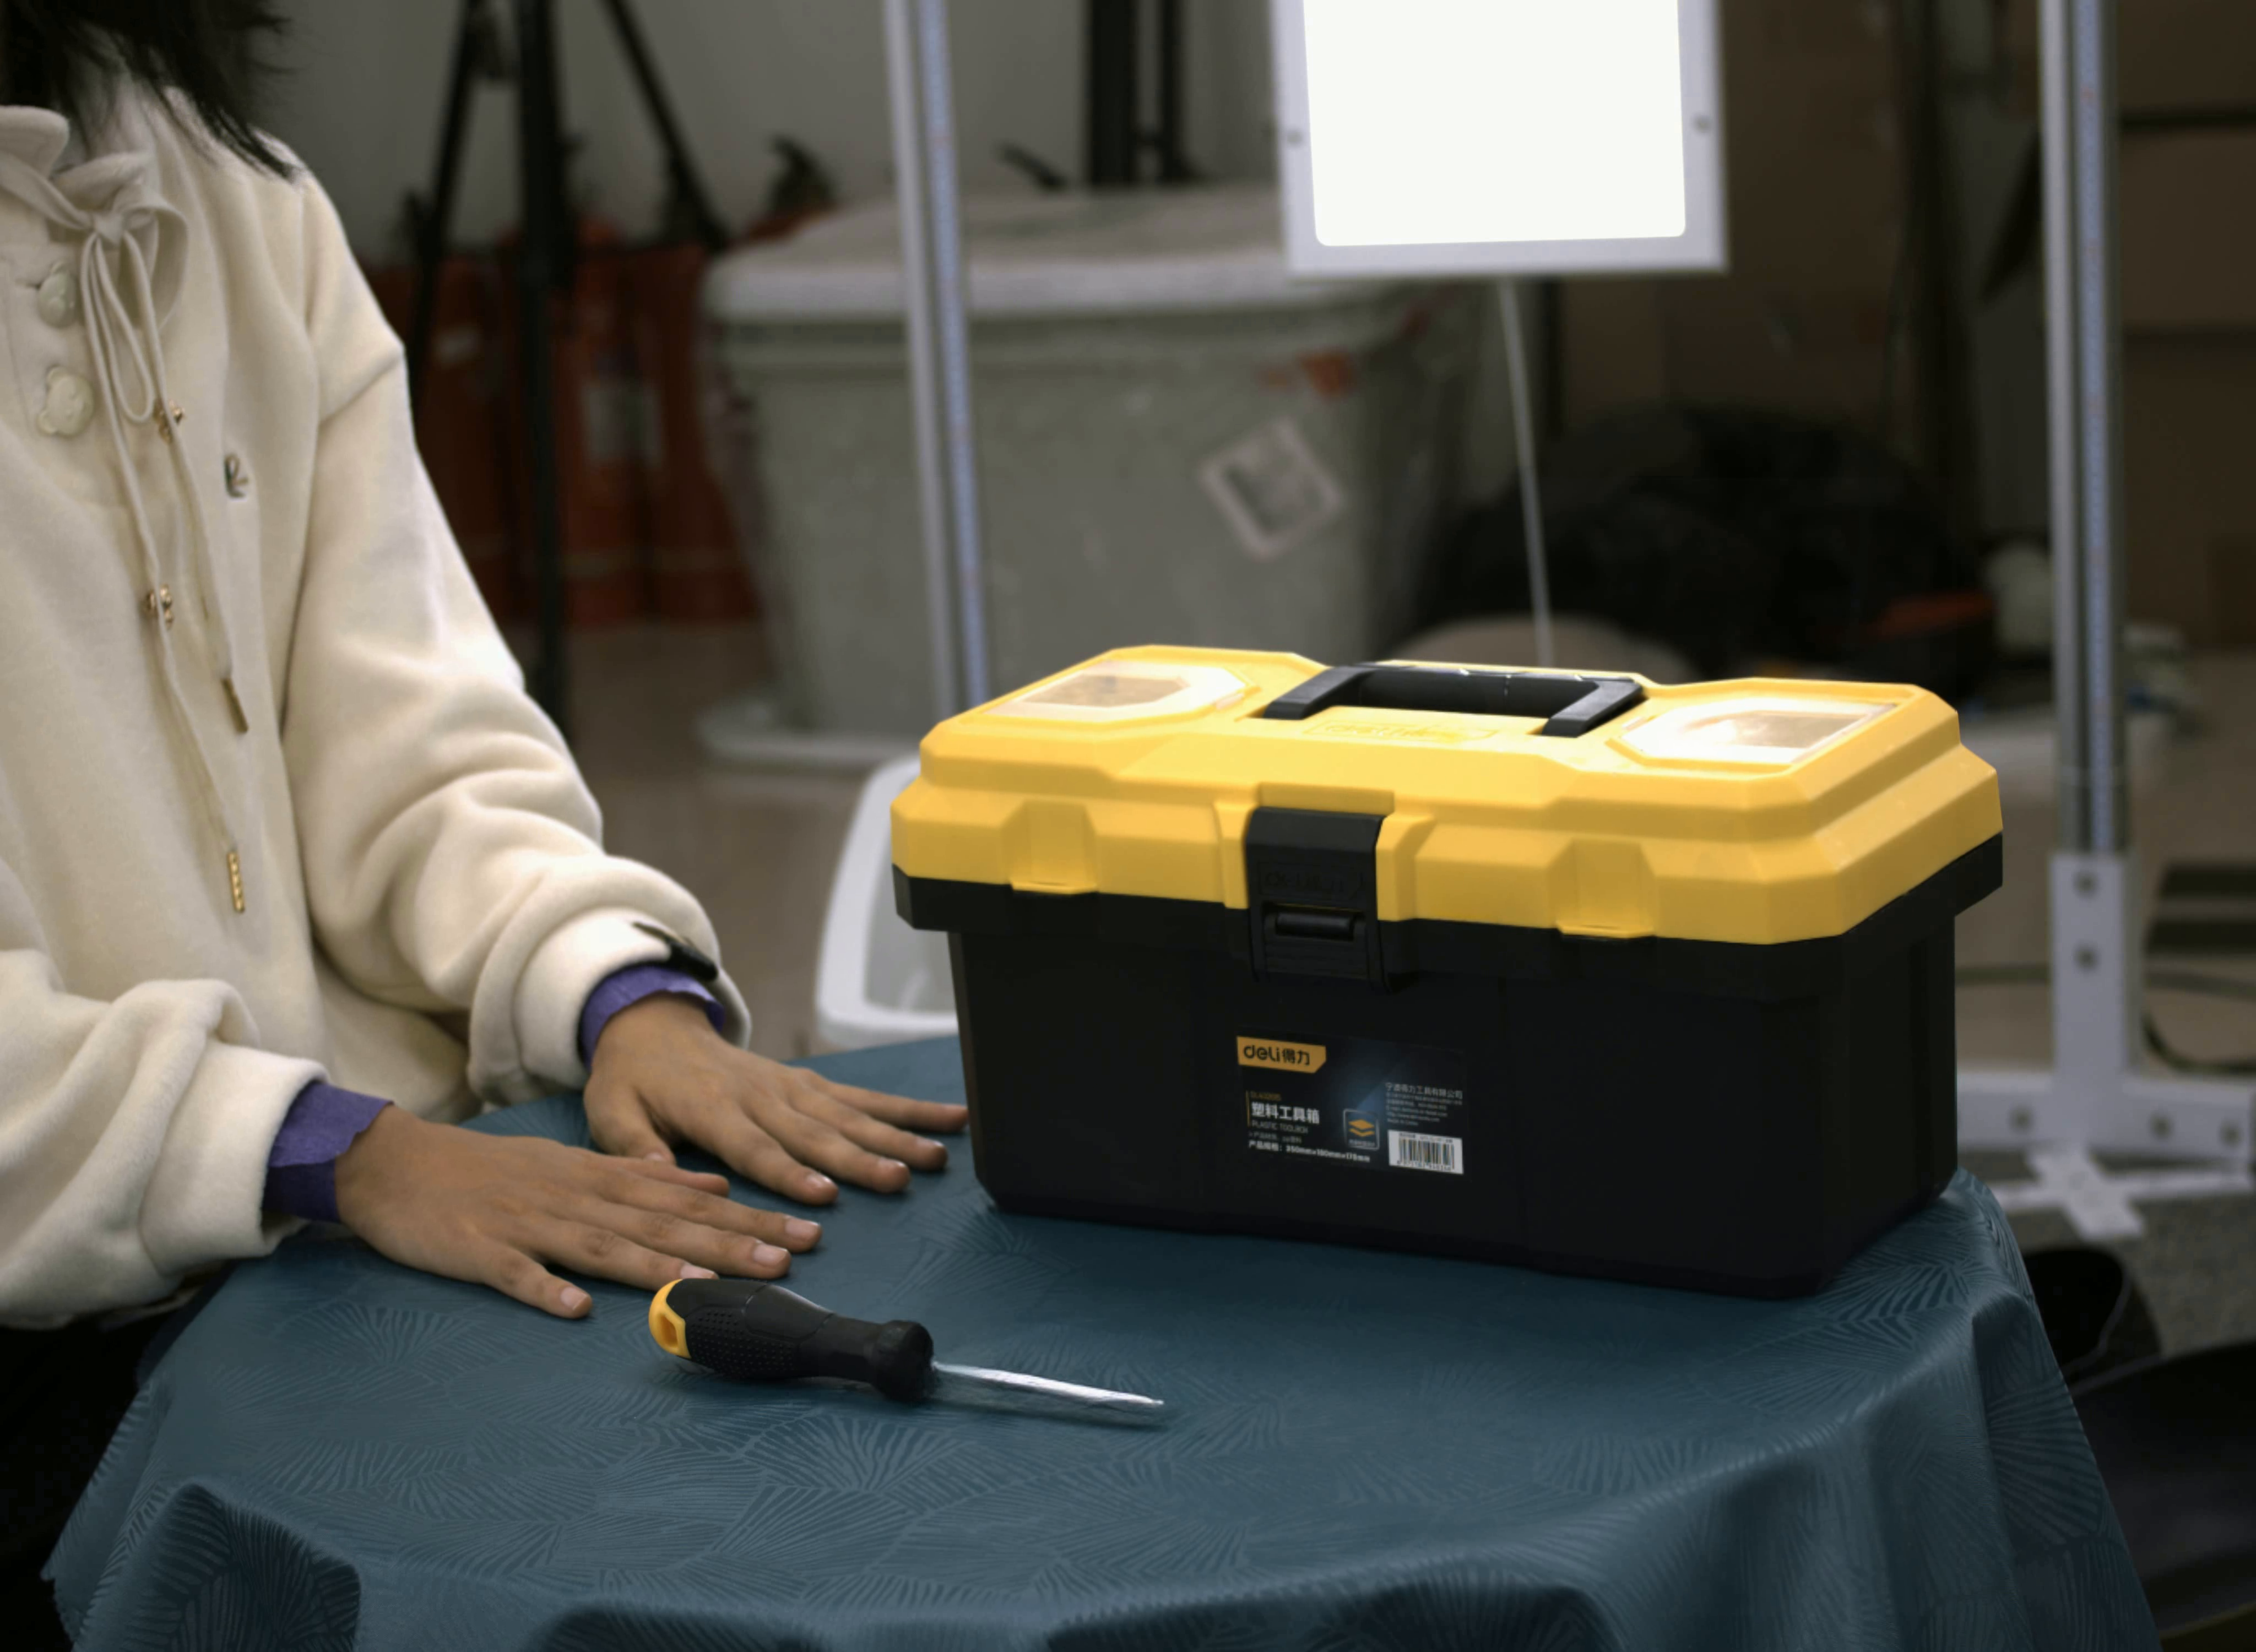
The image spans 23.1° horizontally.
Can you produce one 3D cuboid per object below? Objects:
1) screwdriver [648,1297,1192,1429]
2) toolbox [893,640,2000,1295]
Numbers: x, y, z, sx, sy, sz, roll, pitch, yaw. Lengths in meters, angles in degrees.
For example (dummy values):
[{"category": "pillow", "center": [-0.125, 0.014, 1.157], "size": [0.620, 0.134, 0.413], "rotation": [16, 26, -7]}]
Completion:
[{"category": "screwdriver", "center": [-0.065, 0.173, 1.712], "size": [0.201, 0.031, 0.031], "rotation": [9, 18, 32]}, {"category": "toolbox", "center": [0.105, 0.042, 1.837], "size": [0.358, 0.173, 0.177], "rotation": [4, 16, 33]}]
